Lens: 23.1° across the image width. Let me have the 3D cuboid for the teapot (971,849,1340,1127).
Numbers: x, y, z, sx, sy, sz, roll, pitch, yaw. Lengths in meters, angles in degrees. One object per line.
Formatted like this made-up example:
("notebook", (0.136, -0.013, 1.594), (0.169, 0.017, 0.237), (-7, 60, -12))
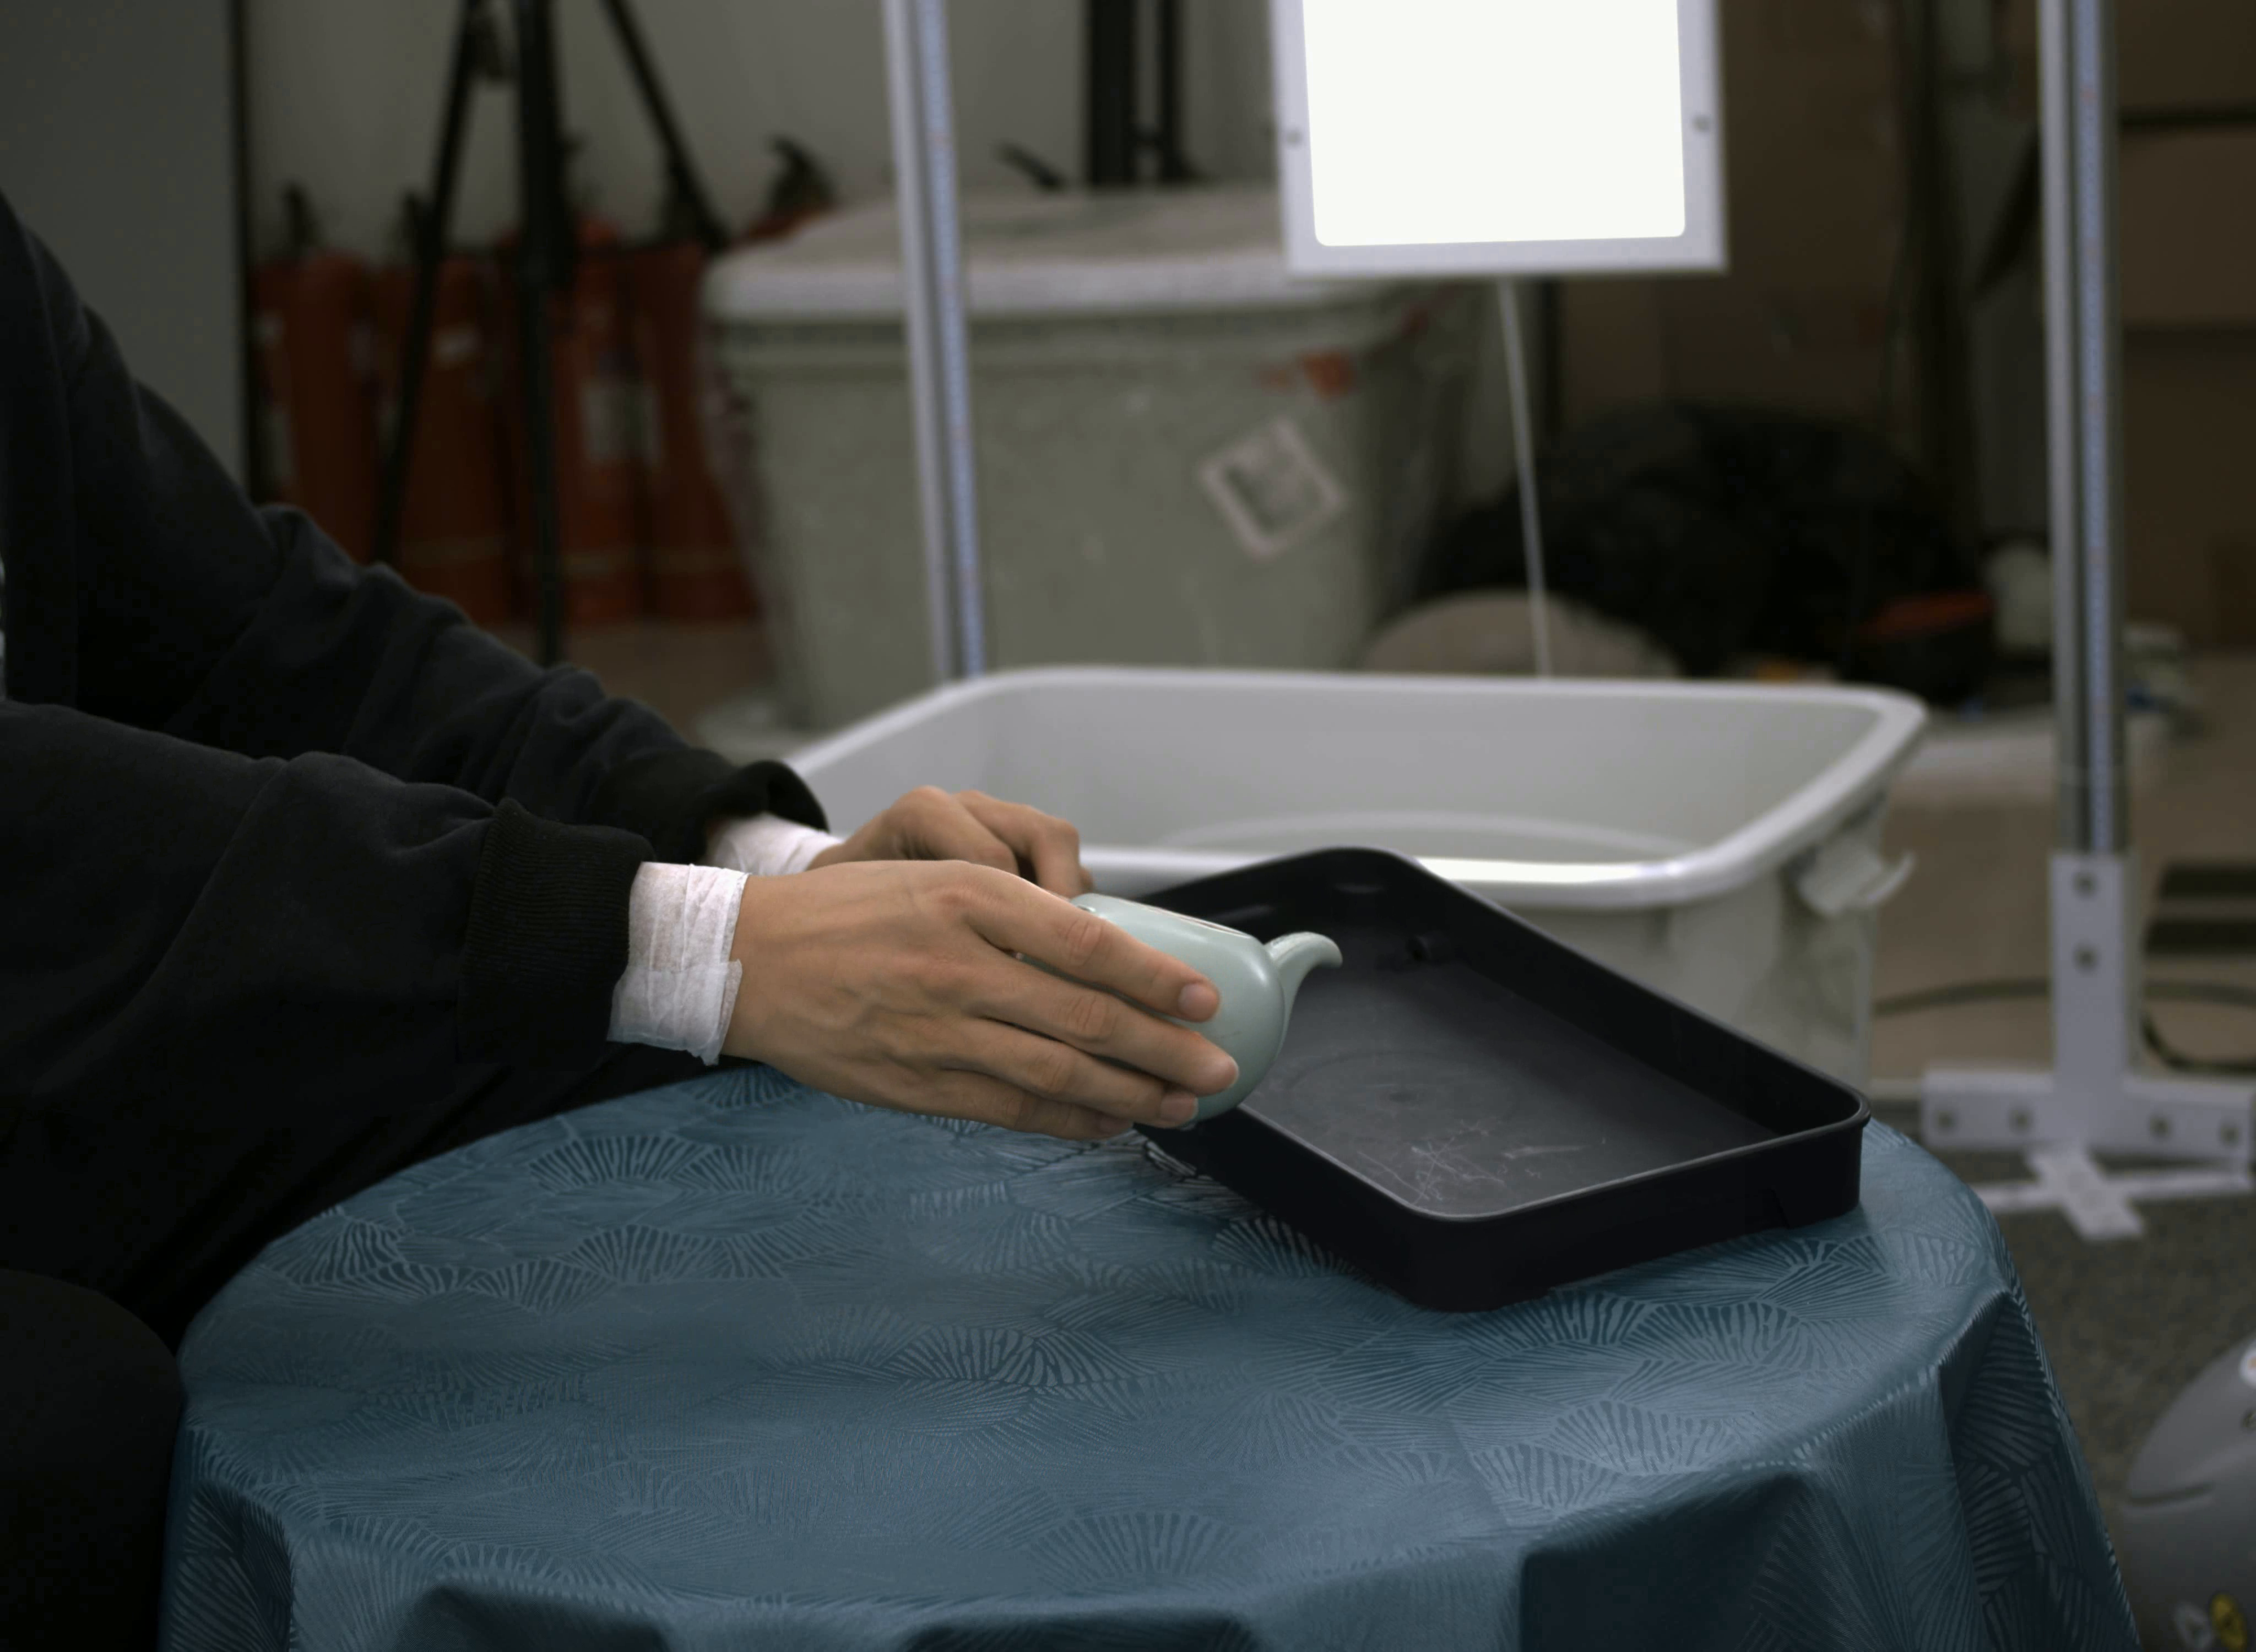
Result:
("teapot", (0.005, 0.056, 1.772), (0.140, 0.075, 0.090), (16, 0, -34))

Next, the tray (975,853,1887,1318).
("tray", (0.099, 0.084, 1.895), (0.180, 0.037, 0.323), (-13, 22, -29))
